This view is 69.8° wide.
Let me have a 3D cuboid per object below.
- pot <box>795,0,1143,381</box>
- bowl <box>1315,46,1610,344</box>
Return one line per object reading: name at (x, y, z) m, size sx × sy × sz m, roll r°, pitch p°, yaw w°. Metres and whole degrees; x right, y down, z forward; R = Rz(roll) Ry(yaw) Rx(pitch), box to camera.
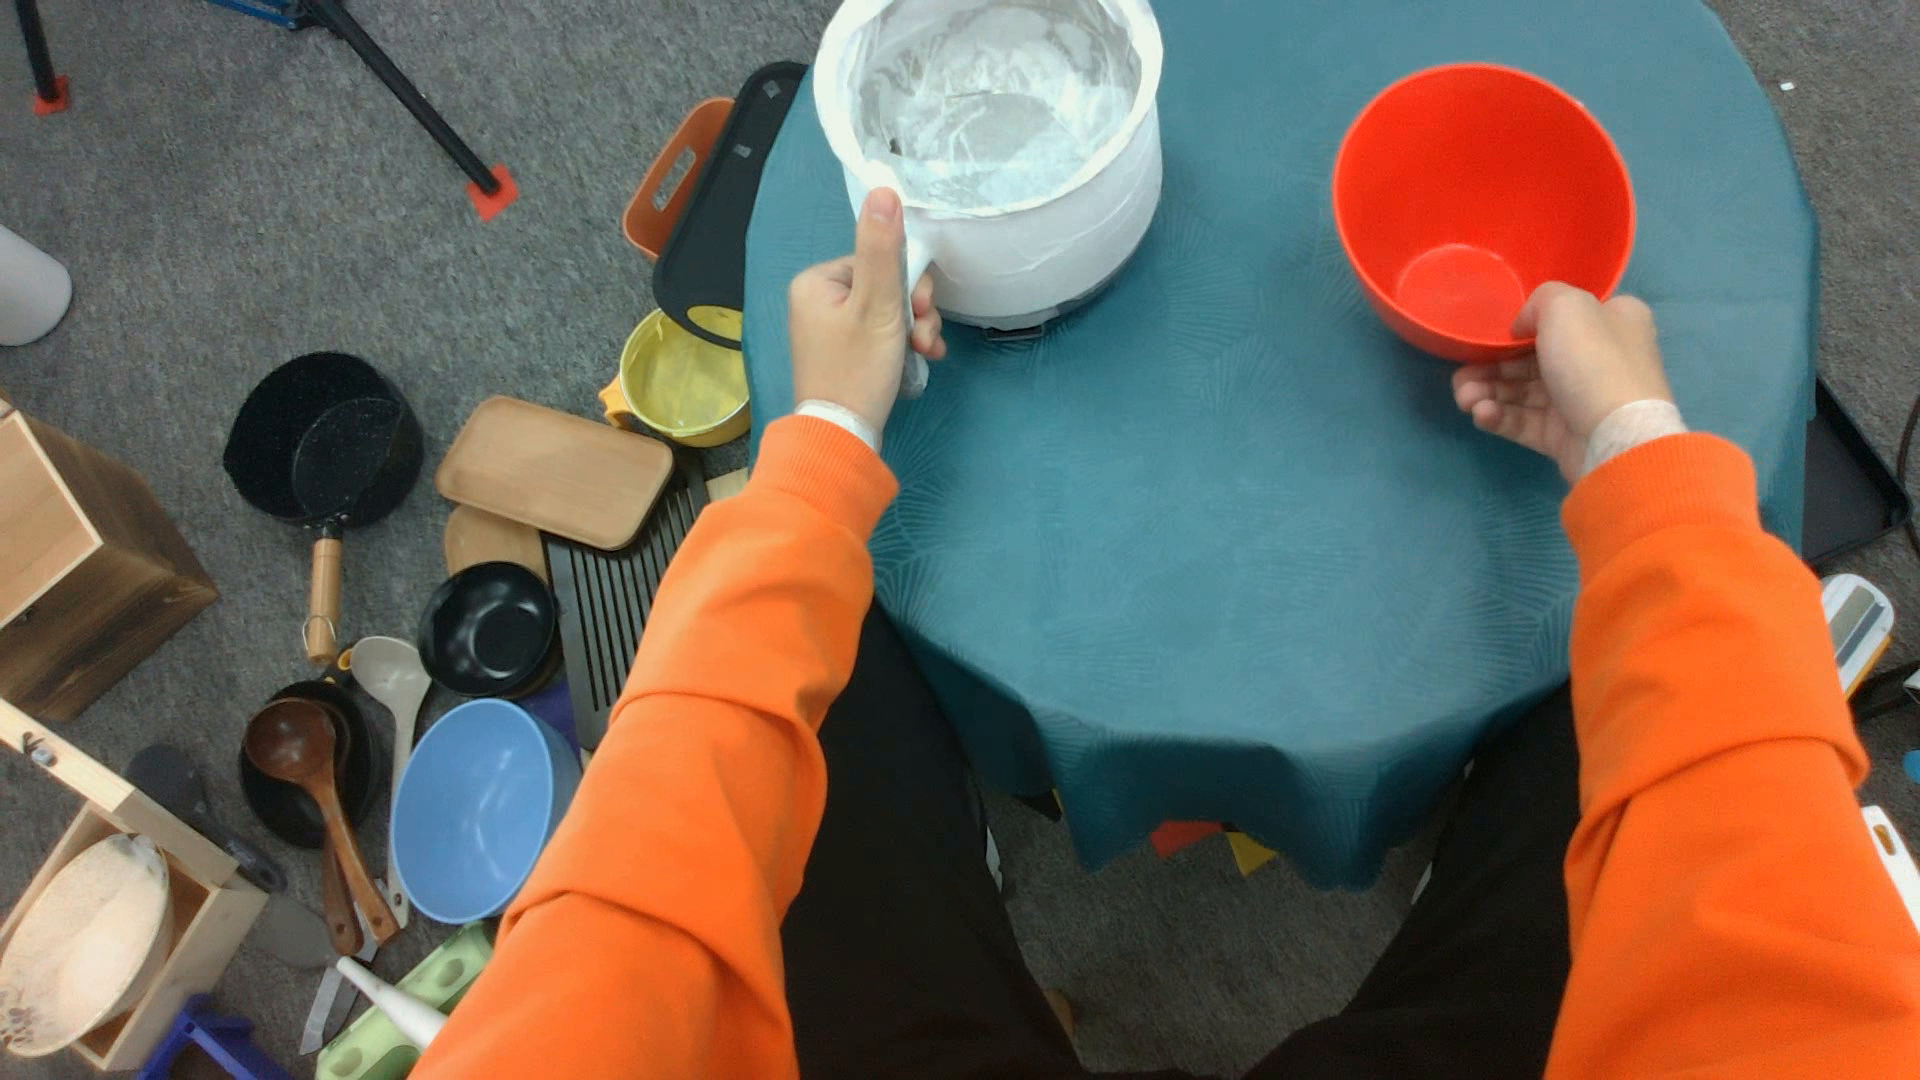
pot at (-0.001, -0.204, 0.750) m, size 0.178 × 0.136 × 0.234 m, roll 22°, pitch 76°, yaw 15°
bowl at (0.252, -0.165, 0.720) m, size 0.148 × 0.104 × 0.148 m, roll -1°, pitch 75°, yaw 4°
